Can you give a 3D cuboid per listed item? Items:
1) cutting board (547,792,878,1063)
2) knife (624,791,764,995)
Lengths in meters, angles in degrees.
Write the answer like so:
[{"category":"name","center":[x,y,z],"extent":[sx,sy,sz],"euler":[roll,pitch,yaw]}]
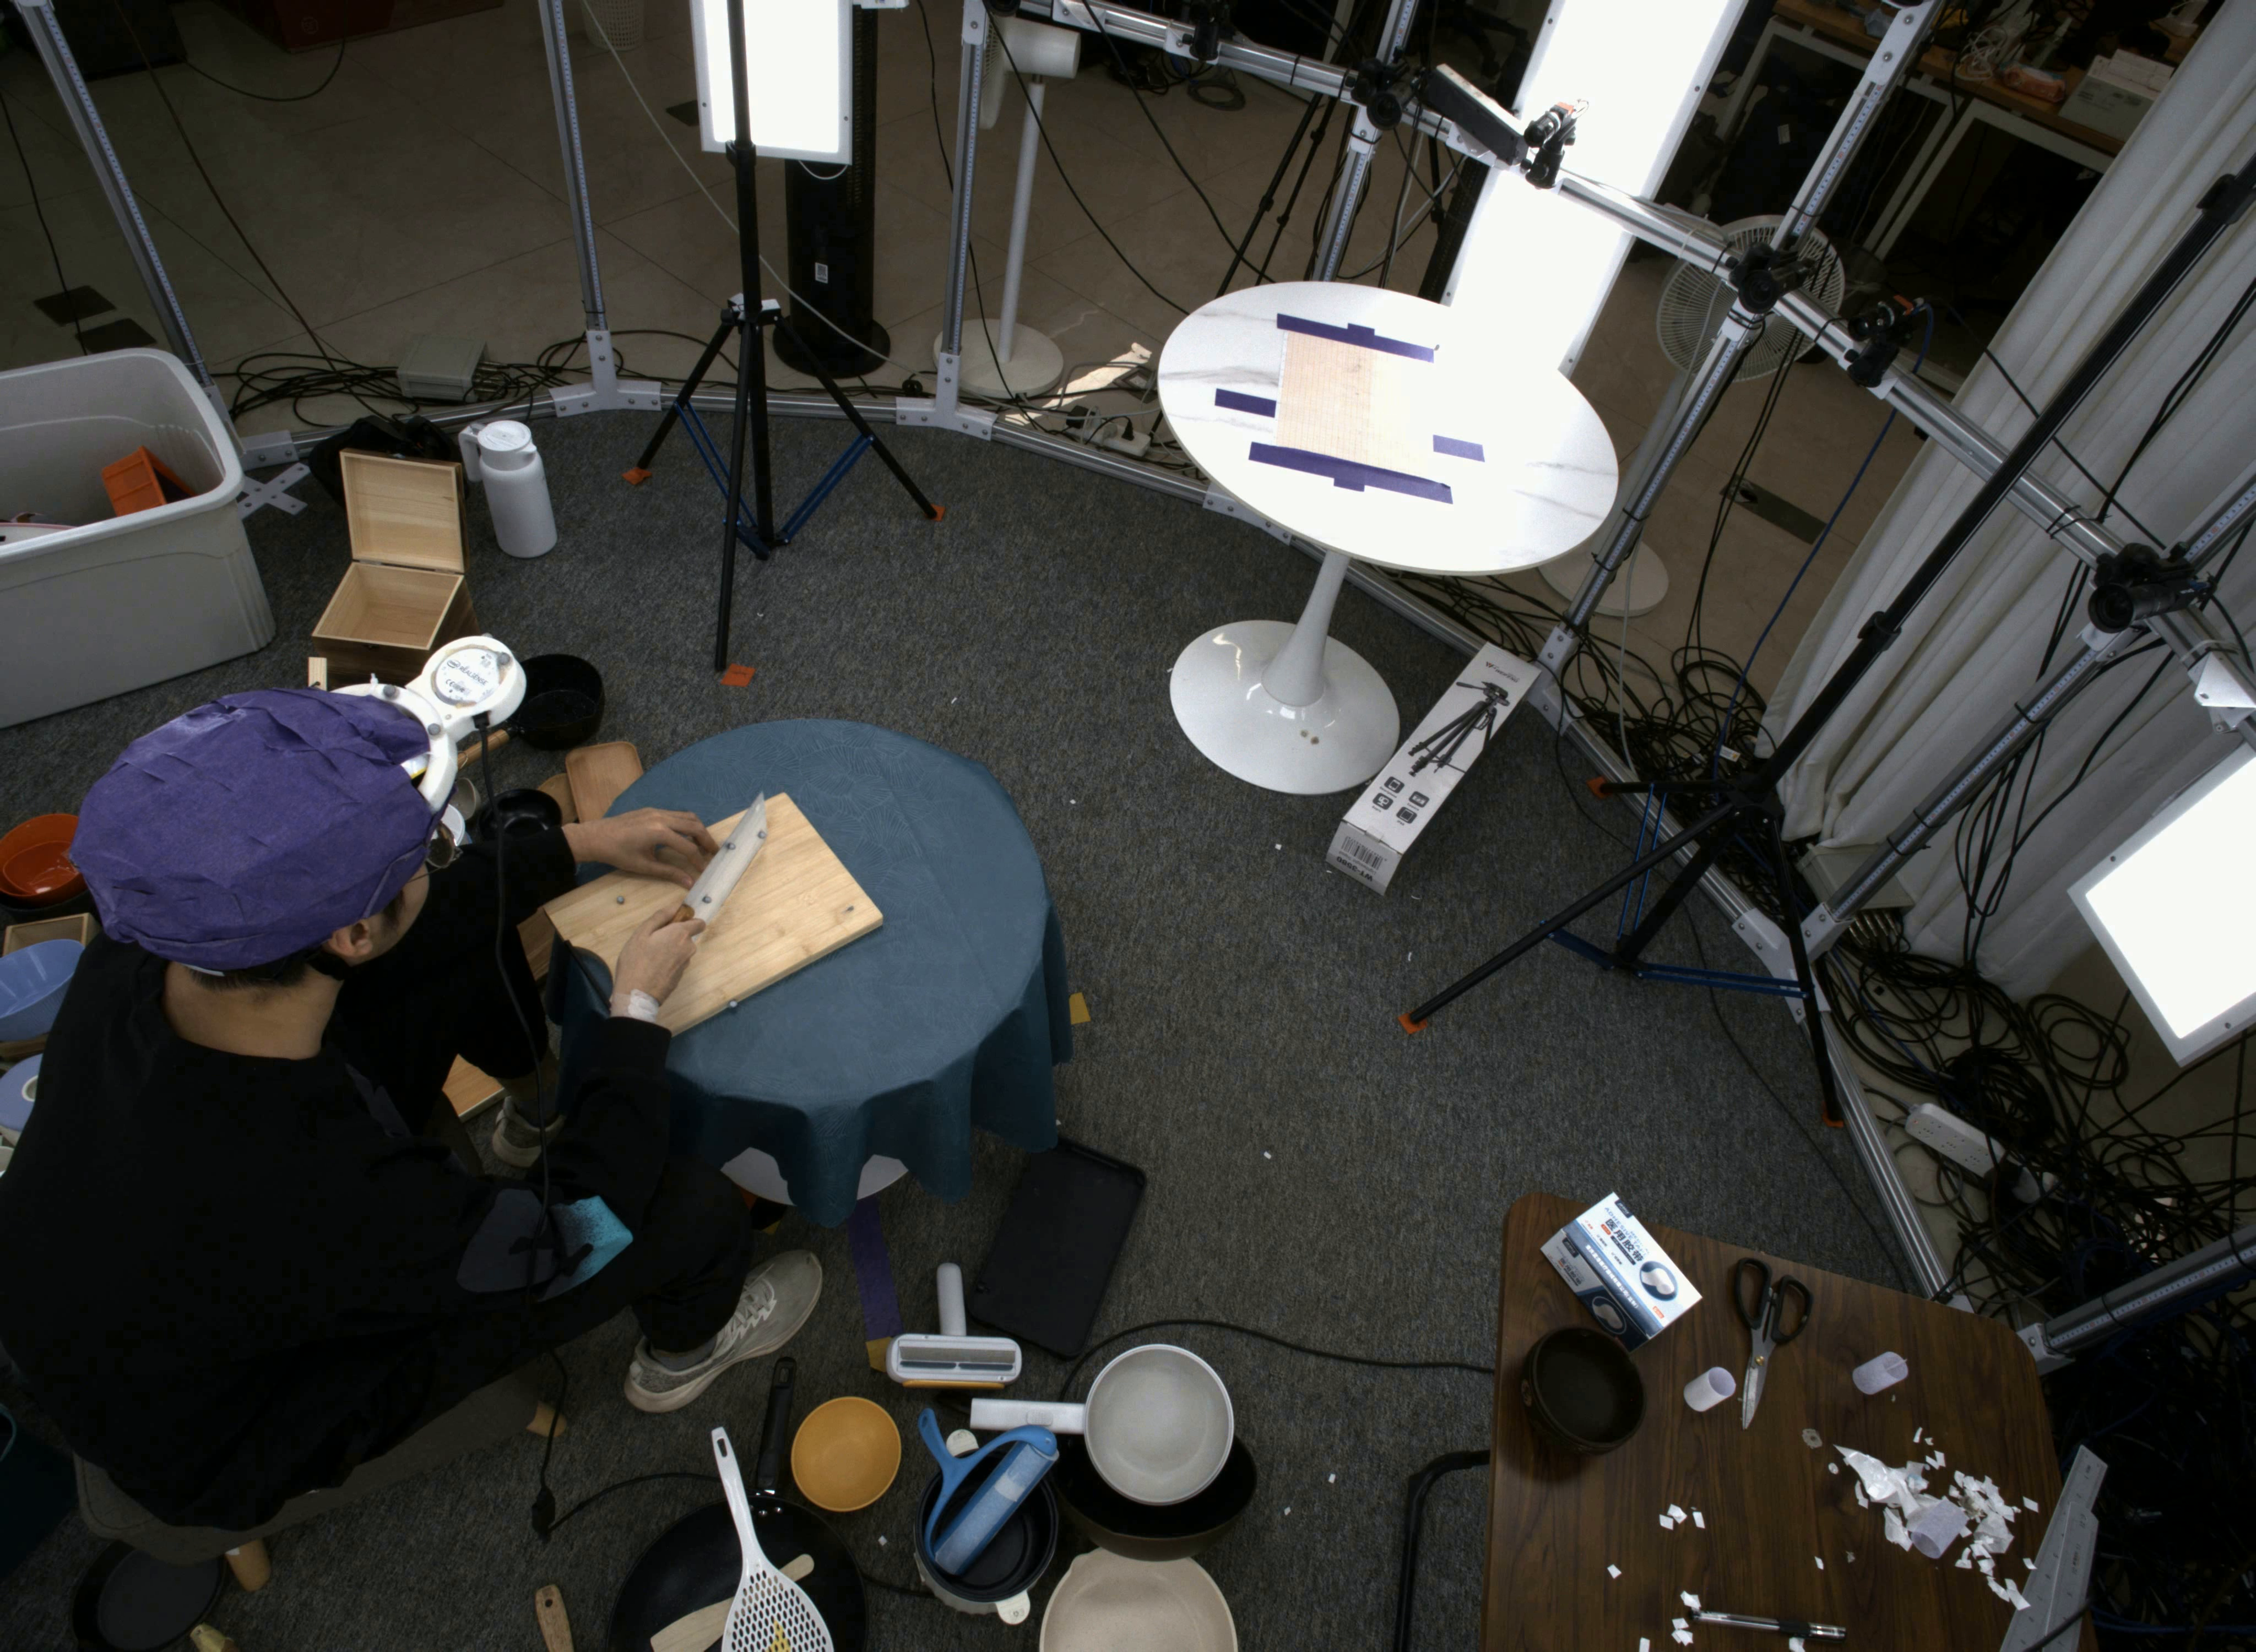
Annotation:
[{"category":"cutting board","center":[-0.516,0.112,1.594],"extent":[0.350,0.024,0.245],"euler":[-31,67,-32]},{"category":"knife","center":[-0.506,0.087,1.528],"extent":[0.020,0.095,0.303],"euler":[18,49,7]}]
